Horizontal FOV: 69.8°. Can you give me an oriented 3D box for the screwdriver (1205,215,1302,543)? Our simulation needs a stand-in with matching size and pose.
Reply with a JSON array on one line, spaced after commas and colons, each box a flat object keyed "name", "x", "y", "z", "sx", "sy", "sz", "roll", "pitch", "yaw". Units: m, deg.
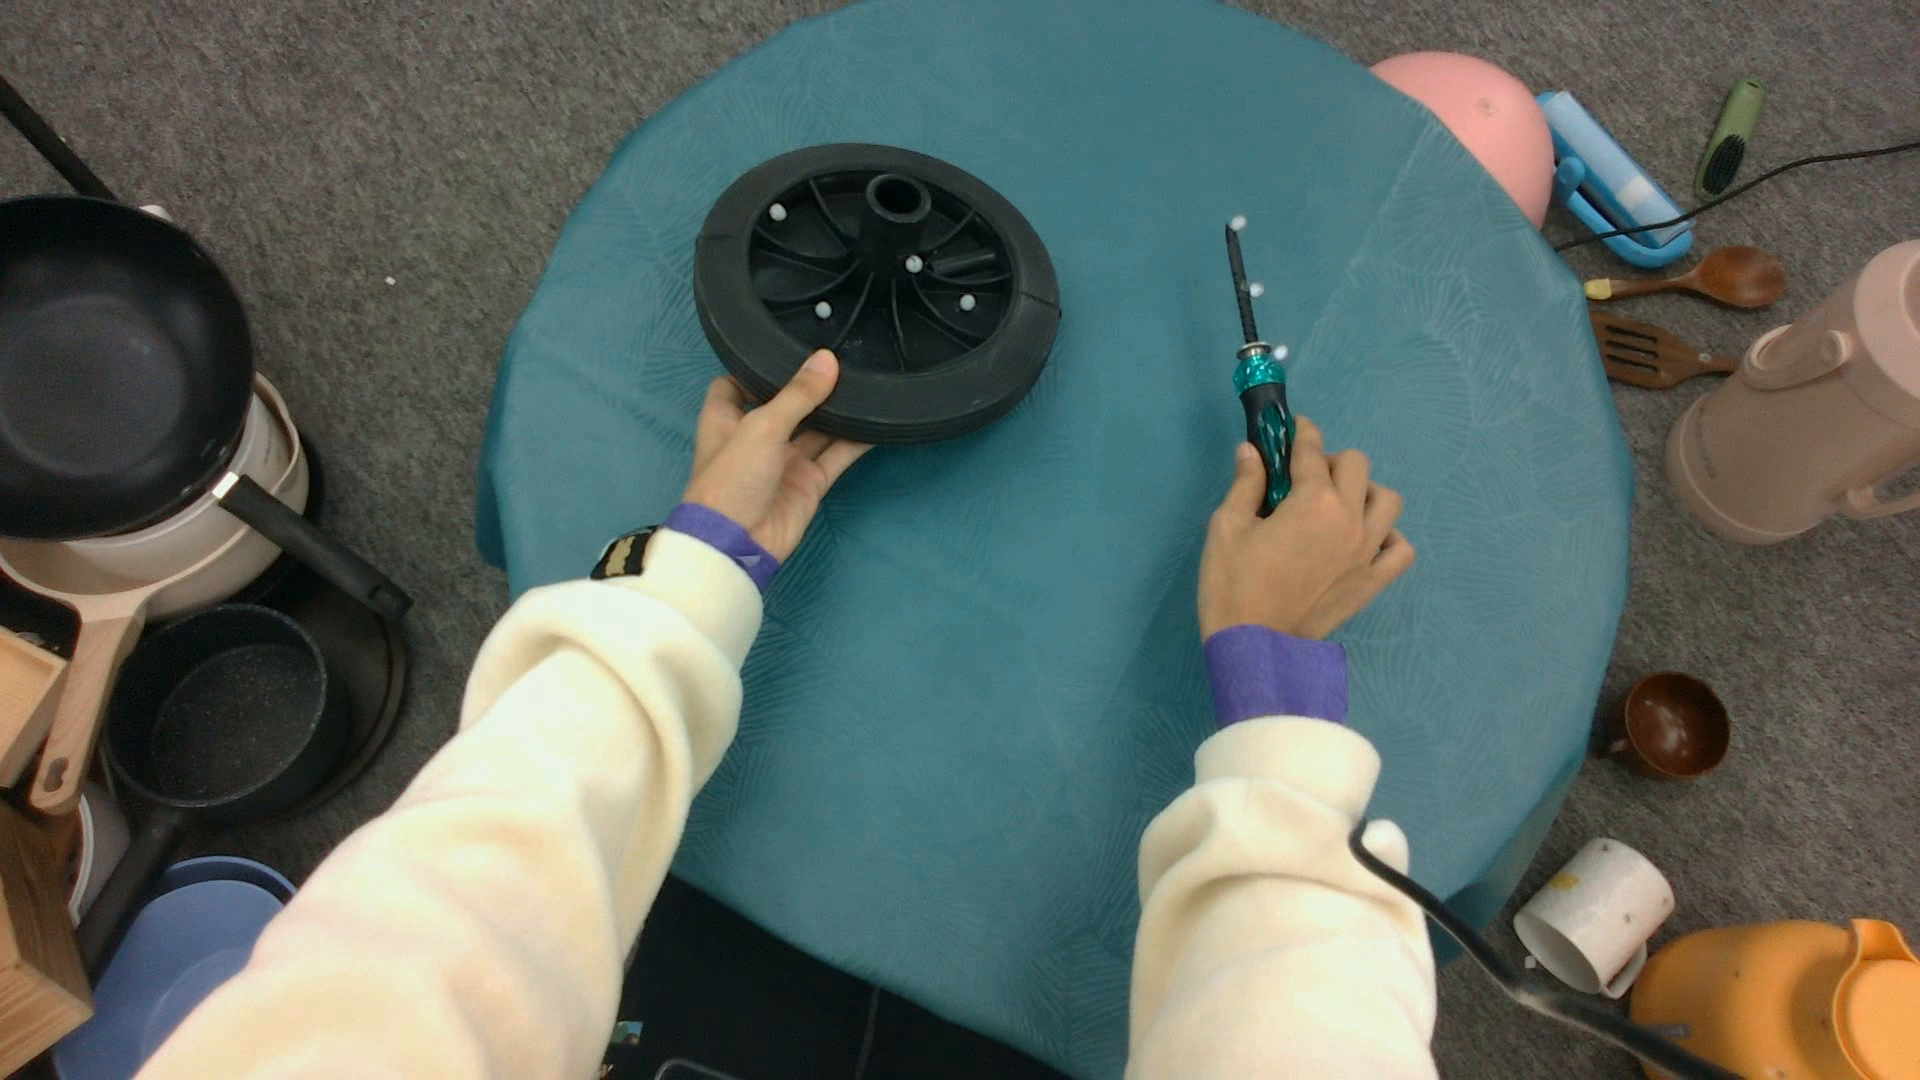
[{"name": "screwdriver", "x": 0.144, "y": -0.088, "z": 0.708, "sx": 0.034, "sy": 0.033, "sz": 0.190, "roll": -4, "pitch": 66, "yaw": -6}]

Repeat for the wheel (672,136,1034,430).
[{"name": "wheel", "x": -0.047, "y": -0.148, "z": 0.692, "sx": 0.187, "sy": 0.078, "sz": 0.191, "roll": 39, "pitch": 55, "yaw": 10}]
